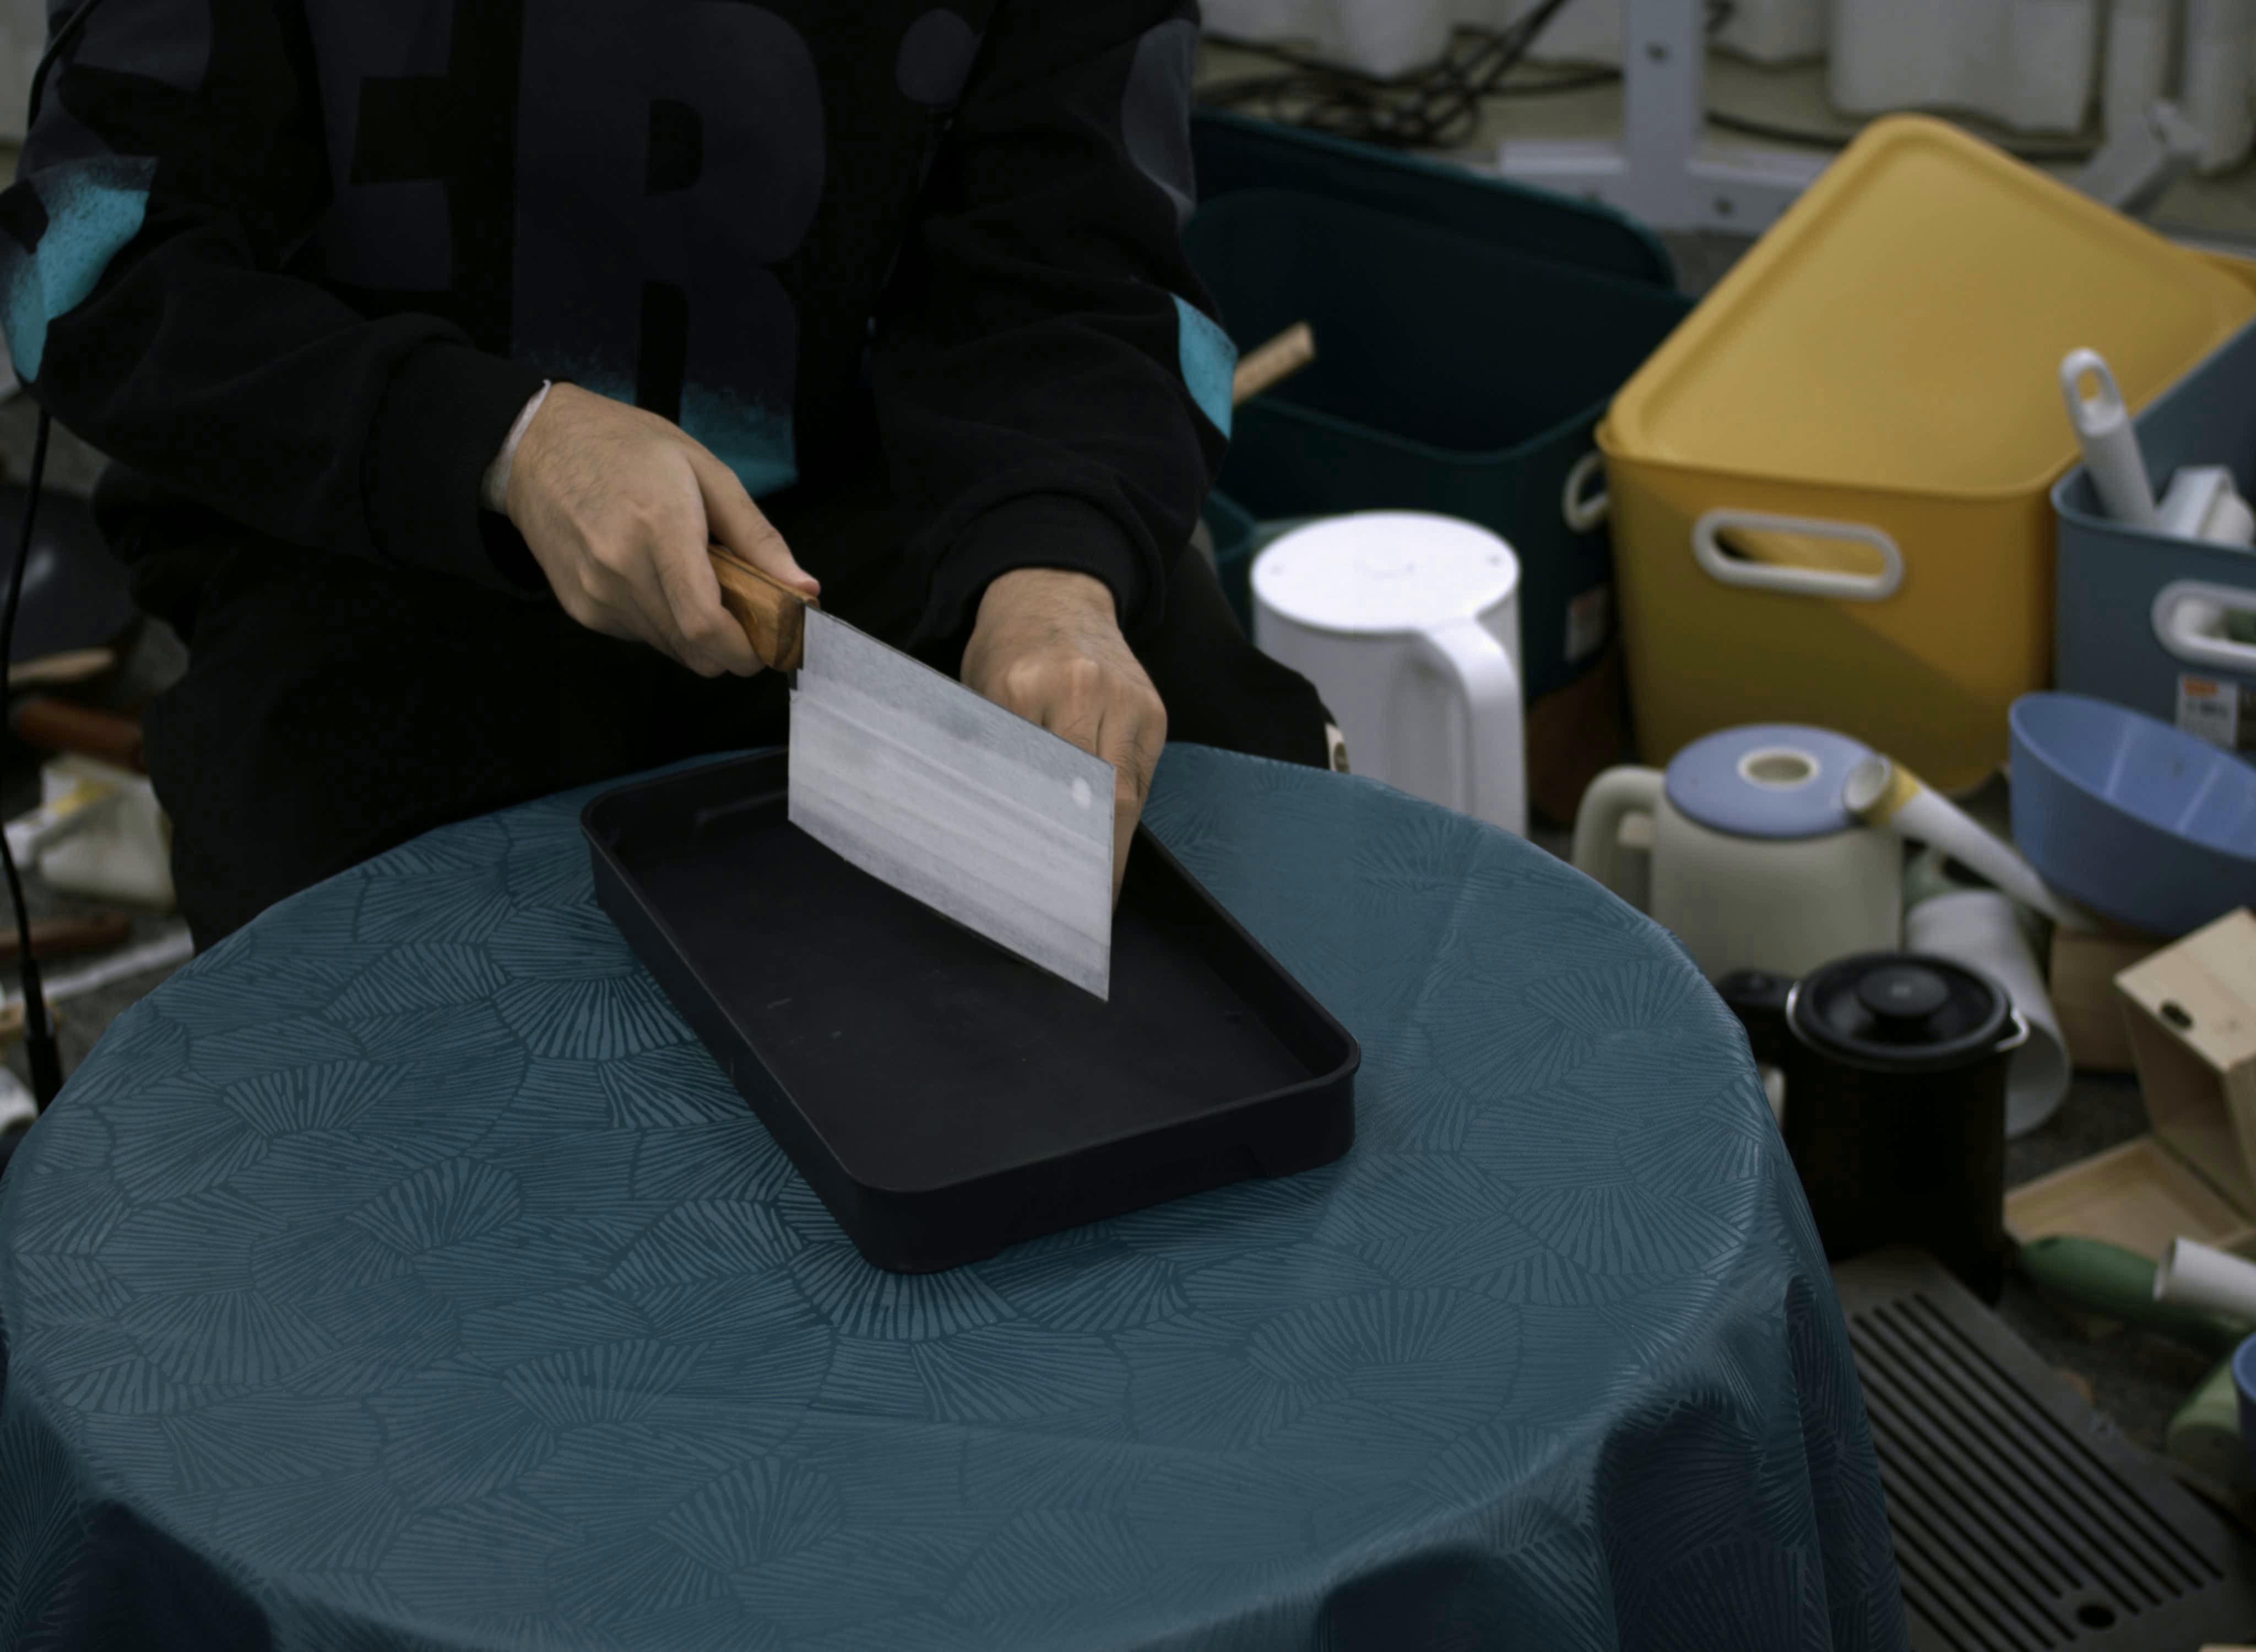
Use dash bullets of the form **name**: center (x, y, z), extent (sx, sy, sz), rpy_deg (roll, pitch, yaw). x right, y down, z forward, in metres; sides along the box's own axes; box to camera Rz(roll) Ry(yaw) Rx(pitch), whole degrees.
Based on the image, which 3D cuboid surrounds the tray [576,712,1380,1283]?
- **tray**: center (-0.058, 0.053, 1.962), extent (0.185, 0.036, 0.320), rpy_deg (-15, 29, -21)

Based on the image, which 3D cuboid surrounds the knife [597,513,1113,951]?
- **knife**: center (-0.100, -0.032, 2.000), extent (0.021, 0.092, 0.306), rpy_deg (-15, 28, -35)
